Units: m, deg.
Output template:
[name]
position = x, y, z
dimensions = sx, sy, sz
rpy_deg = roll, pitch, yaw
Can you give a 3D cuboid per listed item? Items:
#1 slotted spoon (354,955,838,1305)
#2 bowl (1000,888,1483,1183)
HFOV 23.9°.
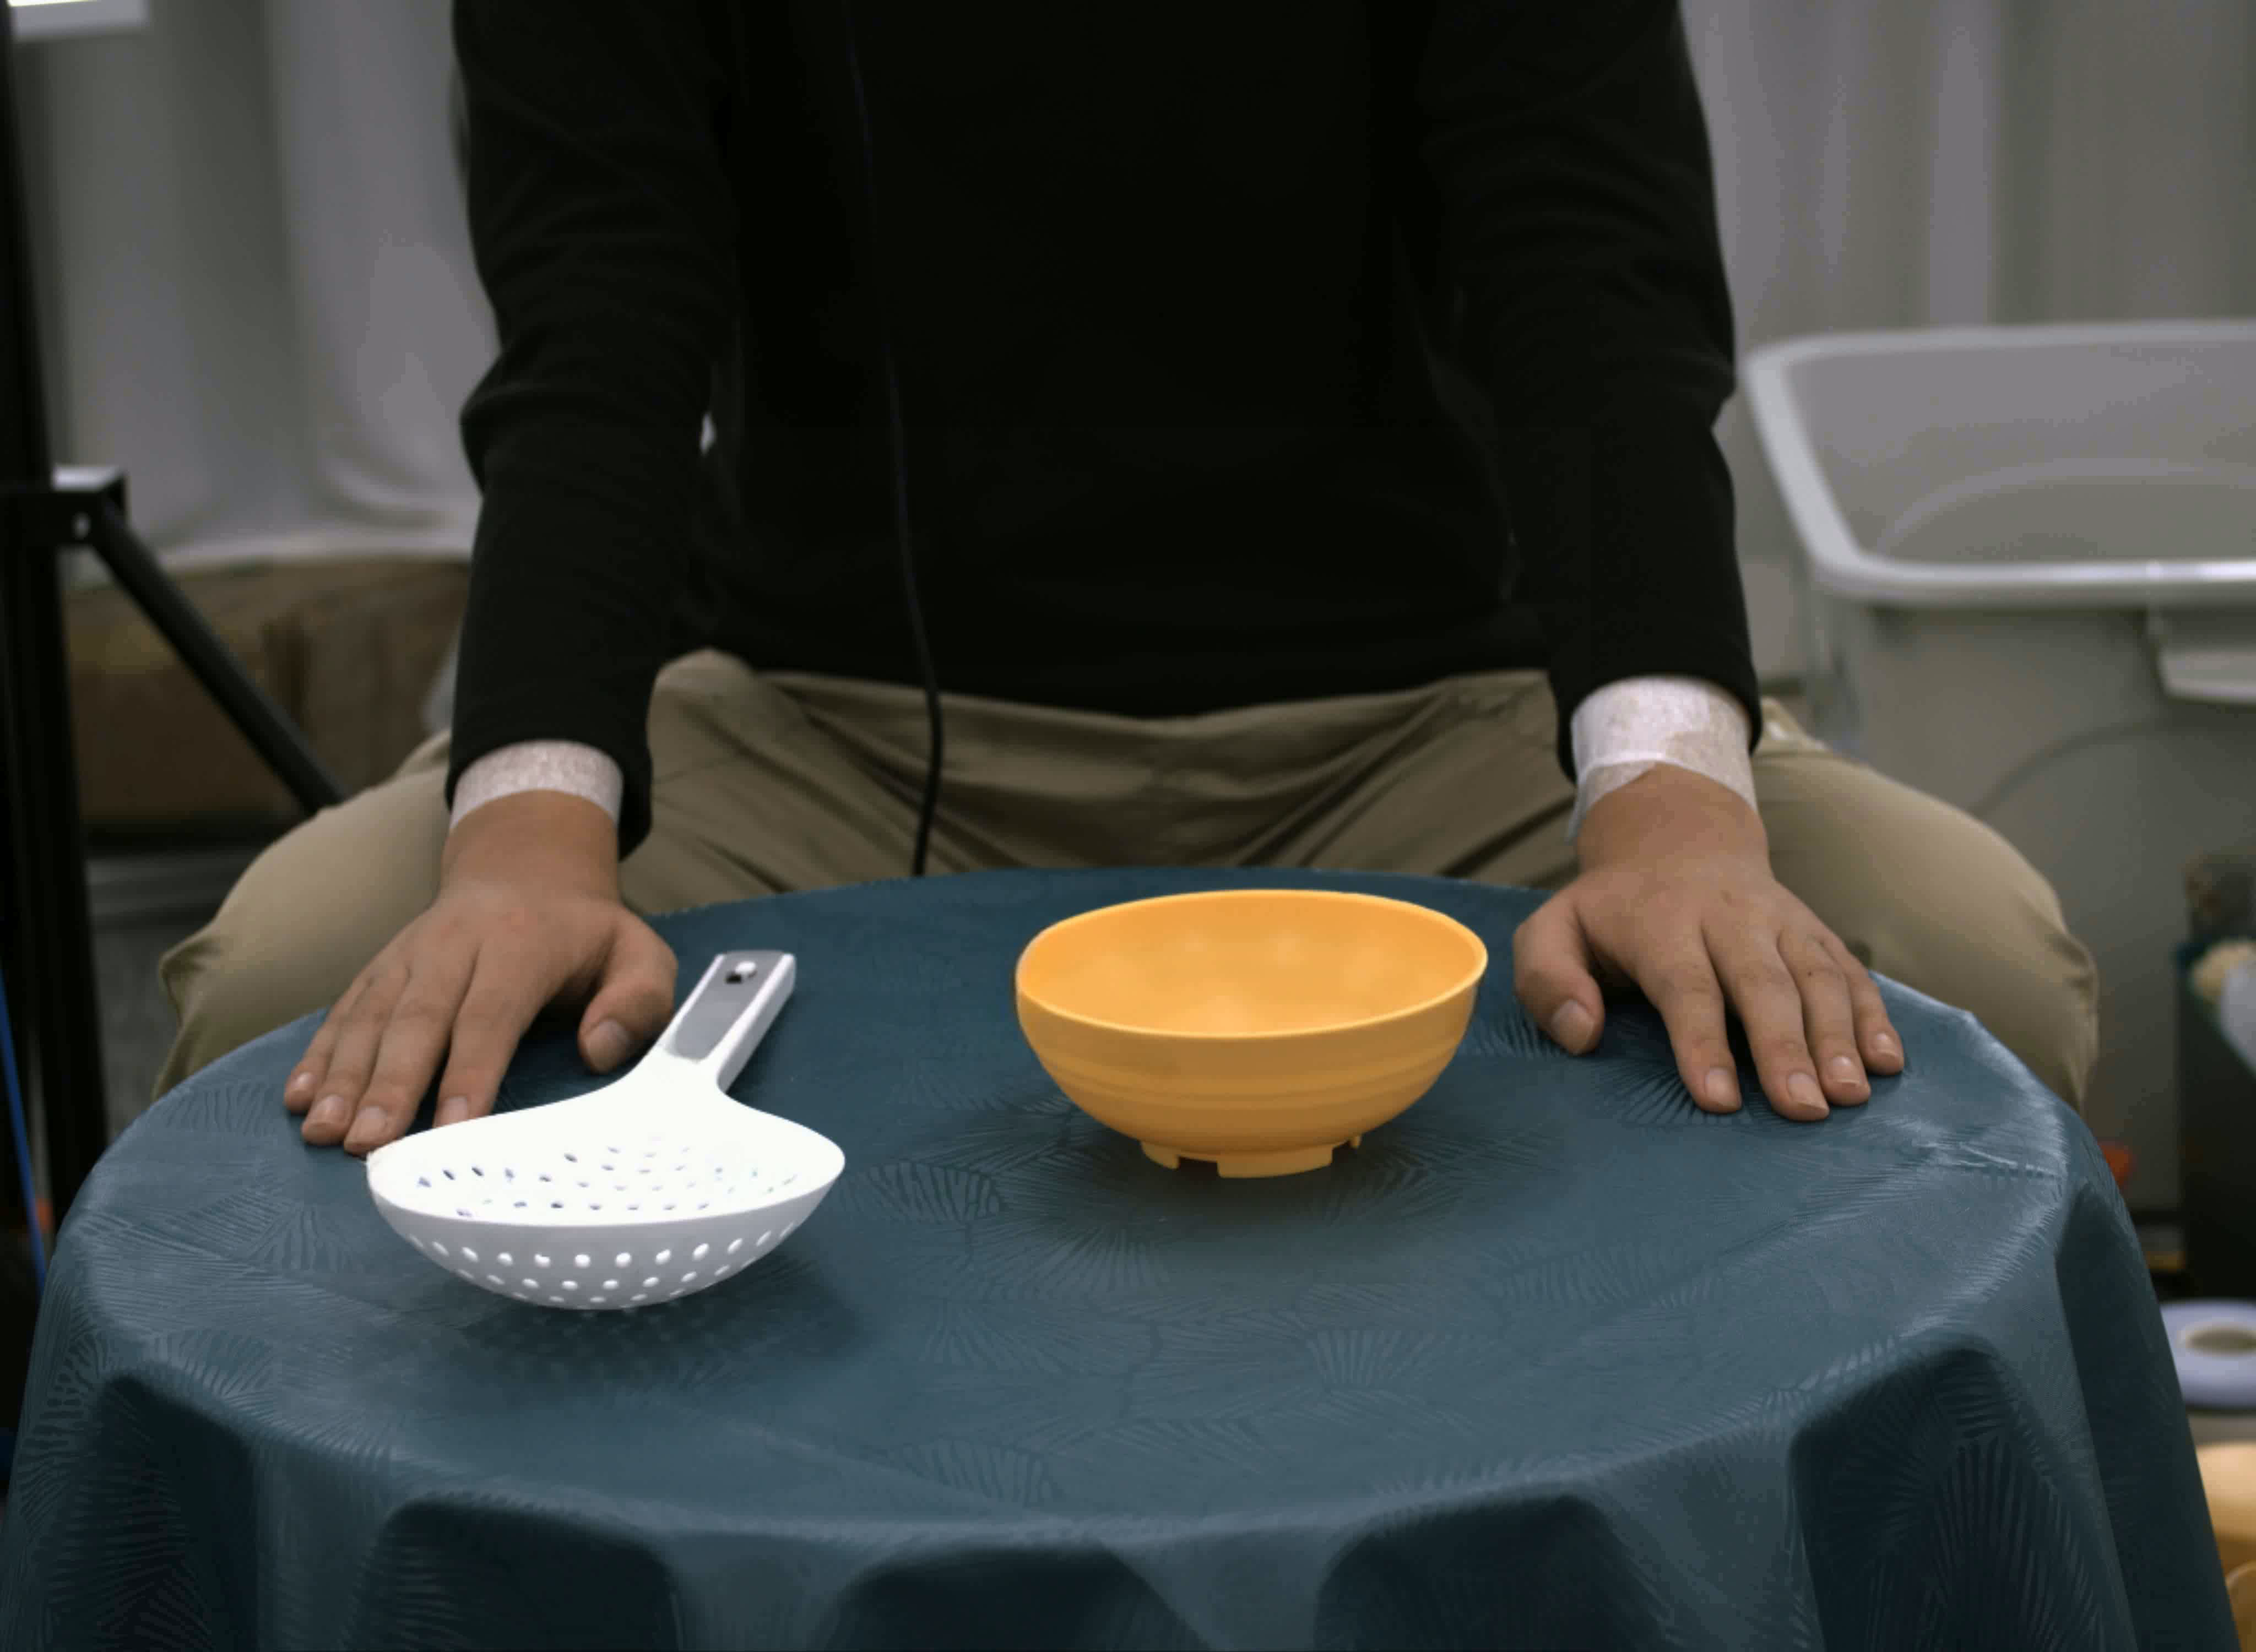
[slotted spoon]
position = -0.139, 0.081, 1.591
dimensions = 0.136, 0.046, 0.349
rpy_deg = 0, 15, 5
[bowl]
position = 0.034, 0.068, 1.589
dimensions = 0.144, 0.060, 0.146
rpy_deg = -1, 16, -1
